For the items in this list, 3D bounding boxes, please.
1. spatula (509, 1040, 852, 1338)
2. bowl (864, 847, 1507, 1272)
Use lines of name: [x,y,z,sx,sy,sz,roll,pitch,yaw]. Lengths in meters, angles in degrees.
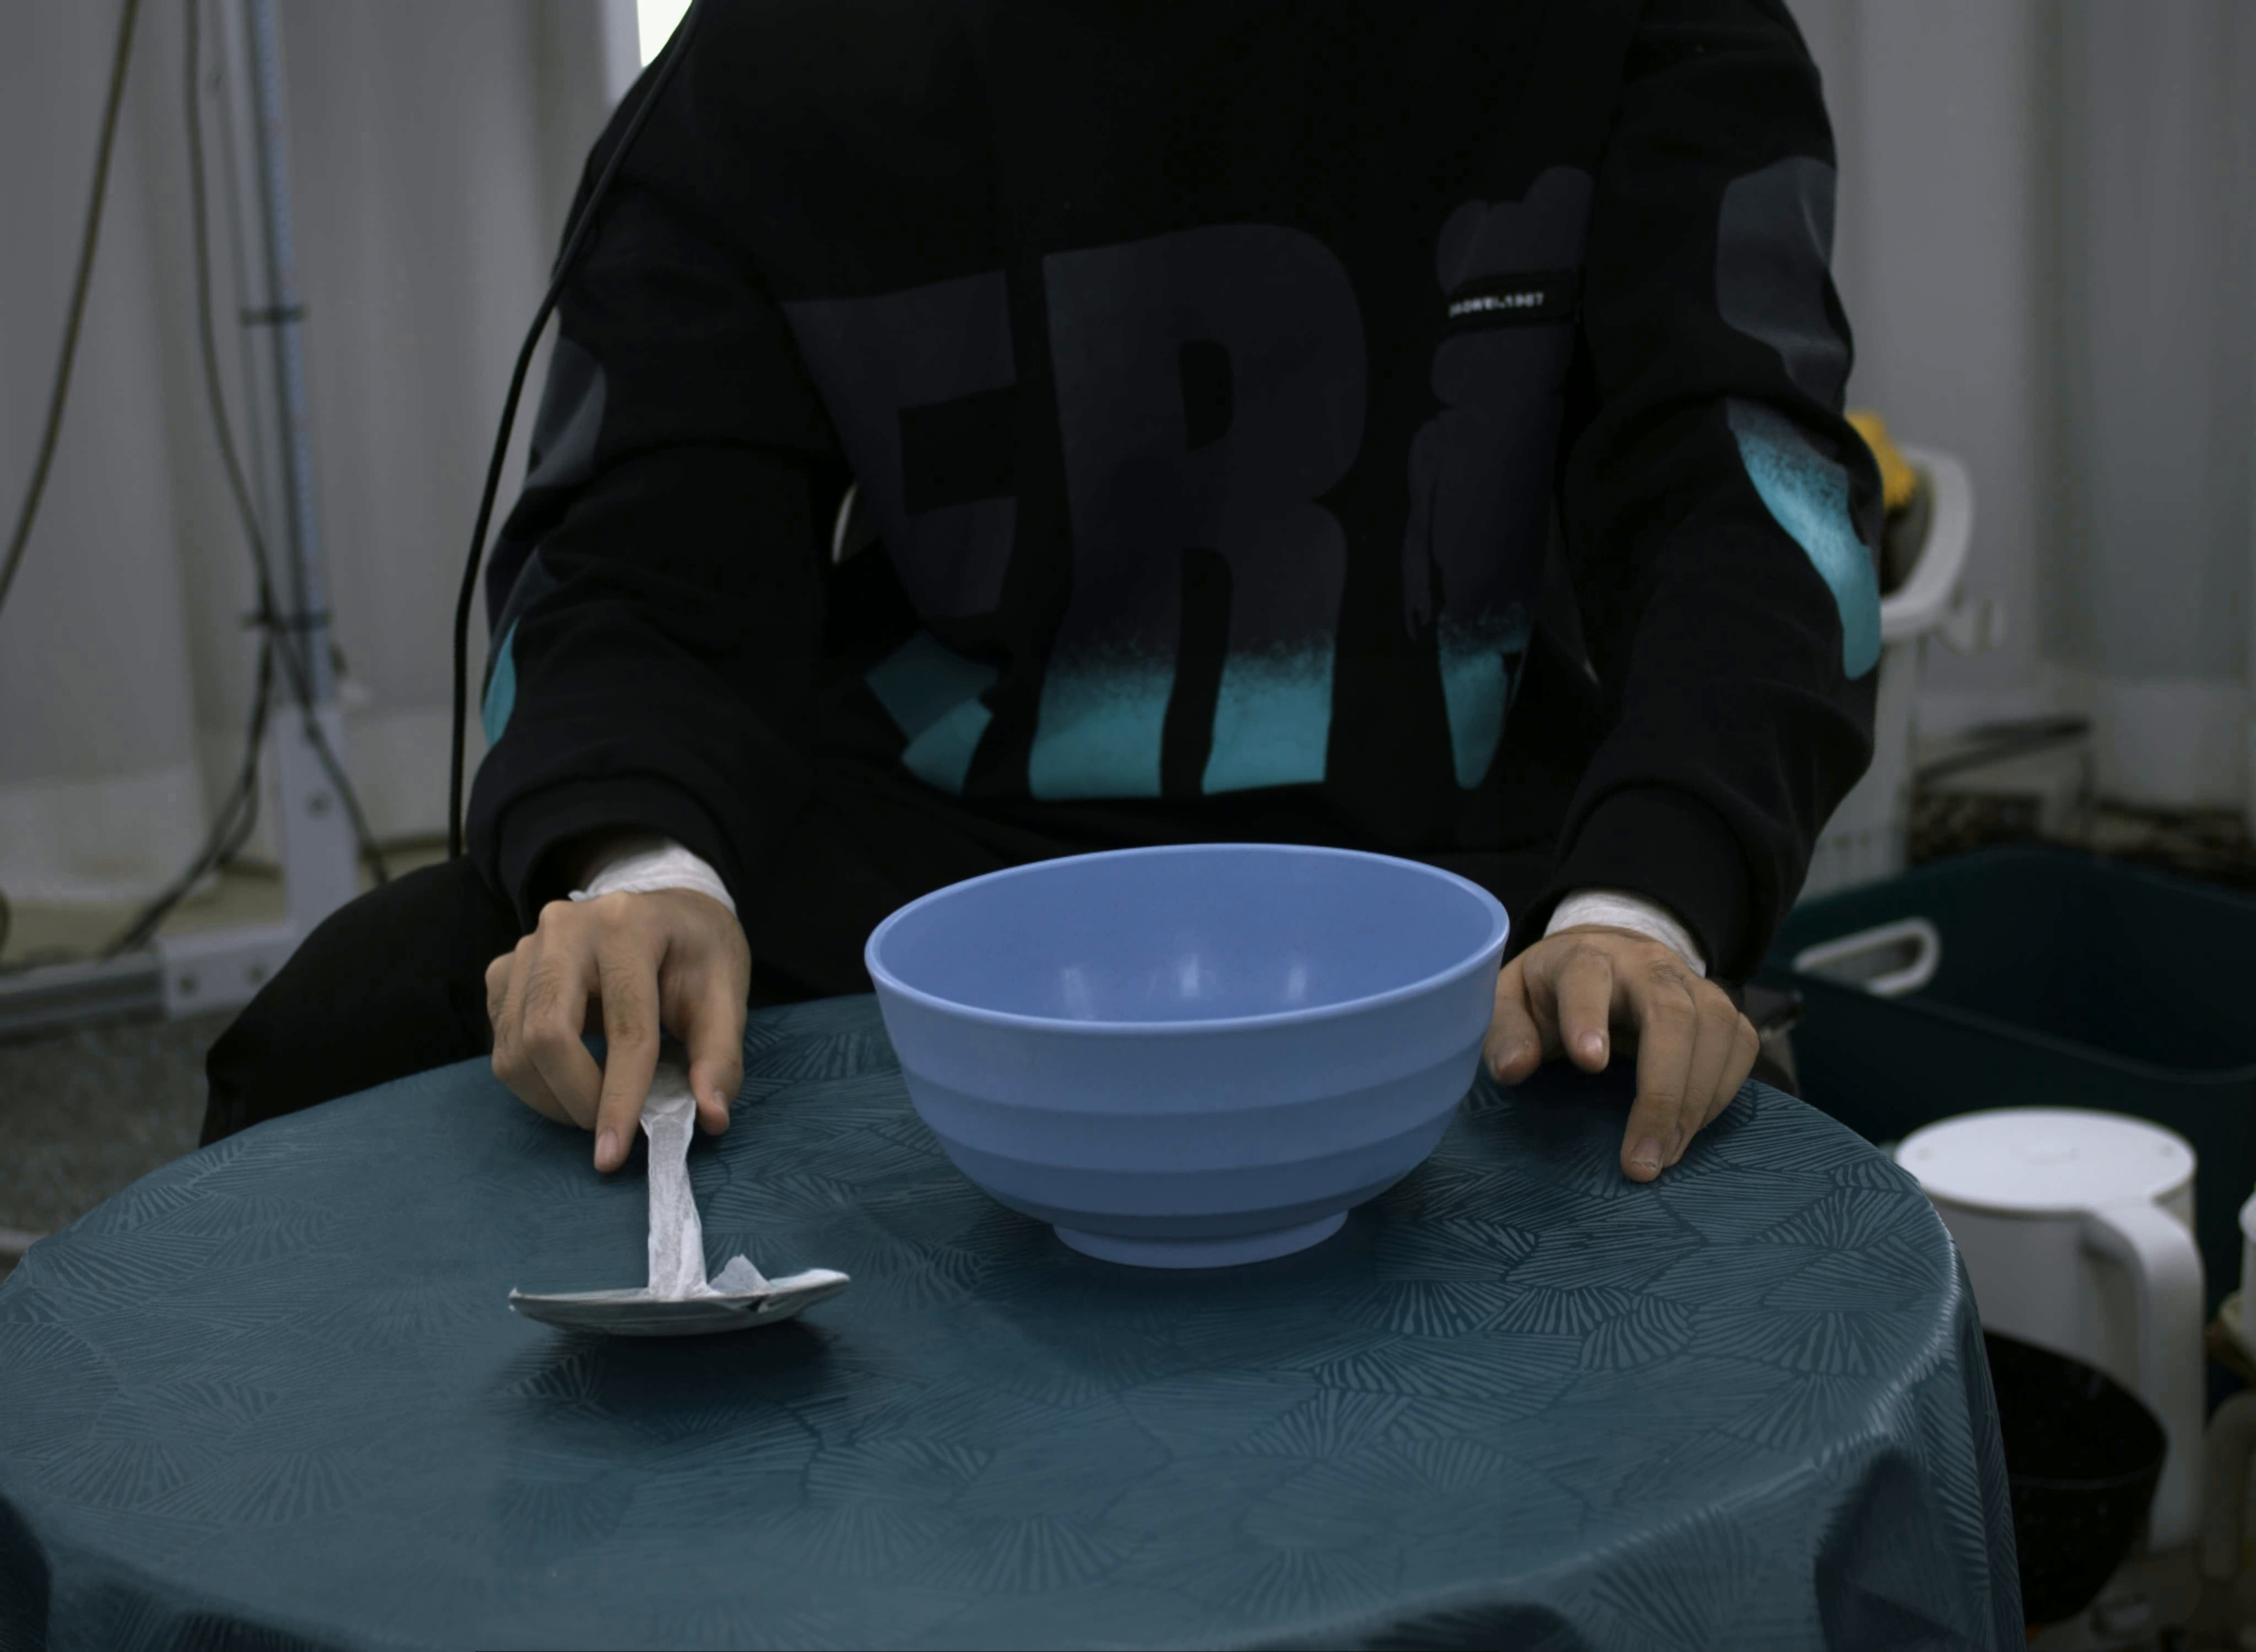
spatula: [-0.139,0.104,1.707,0.098,0.044,0.367,-4,15,-4]
bowl: [0.020,0.077,1.673,0.196,0.095,0.198,-4,15,1]
